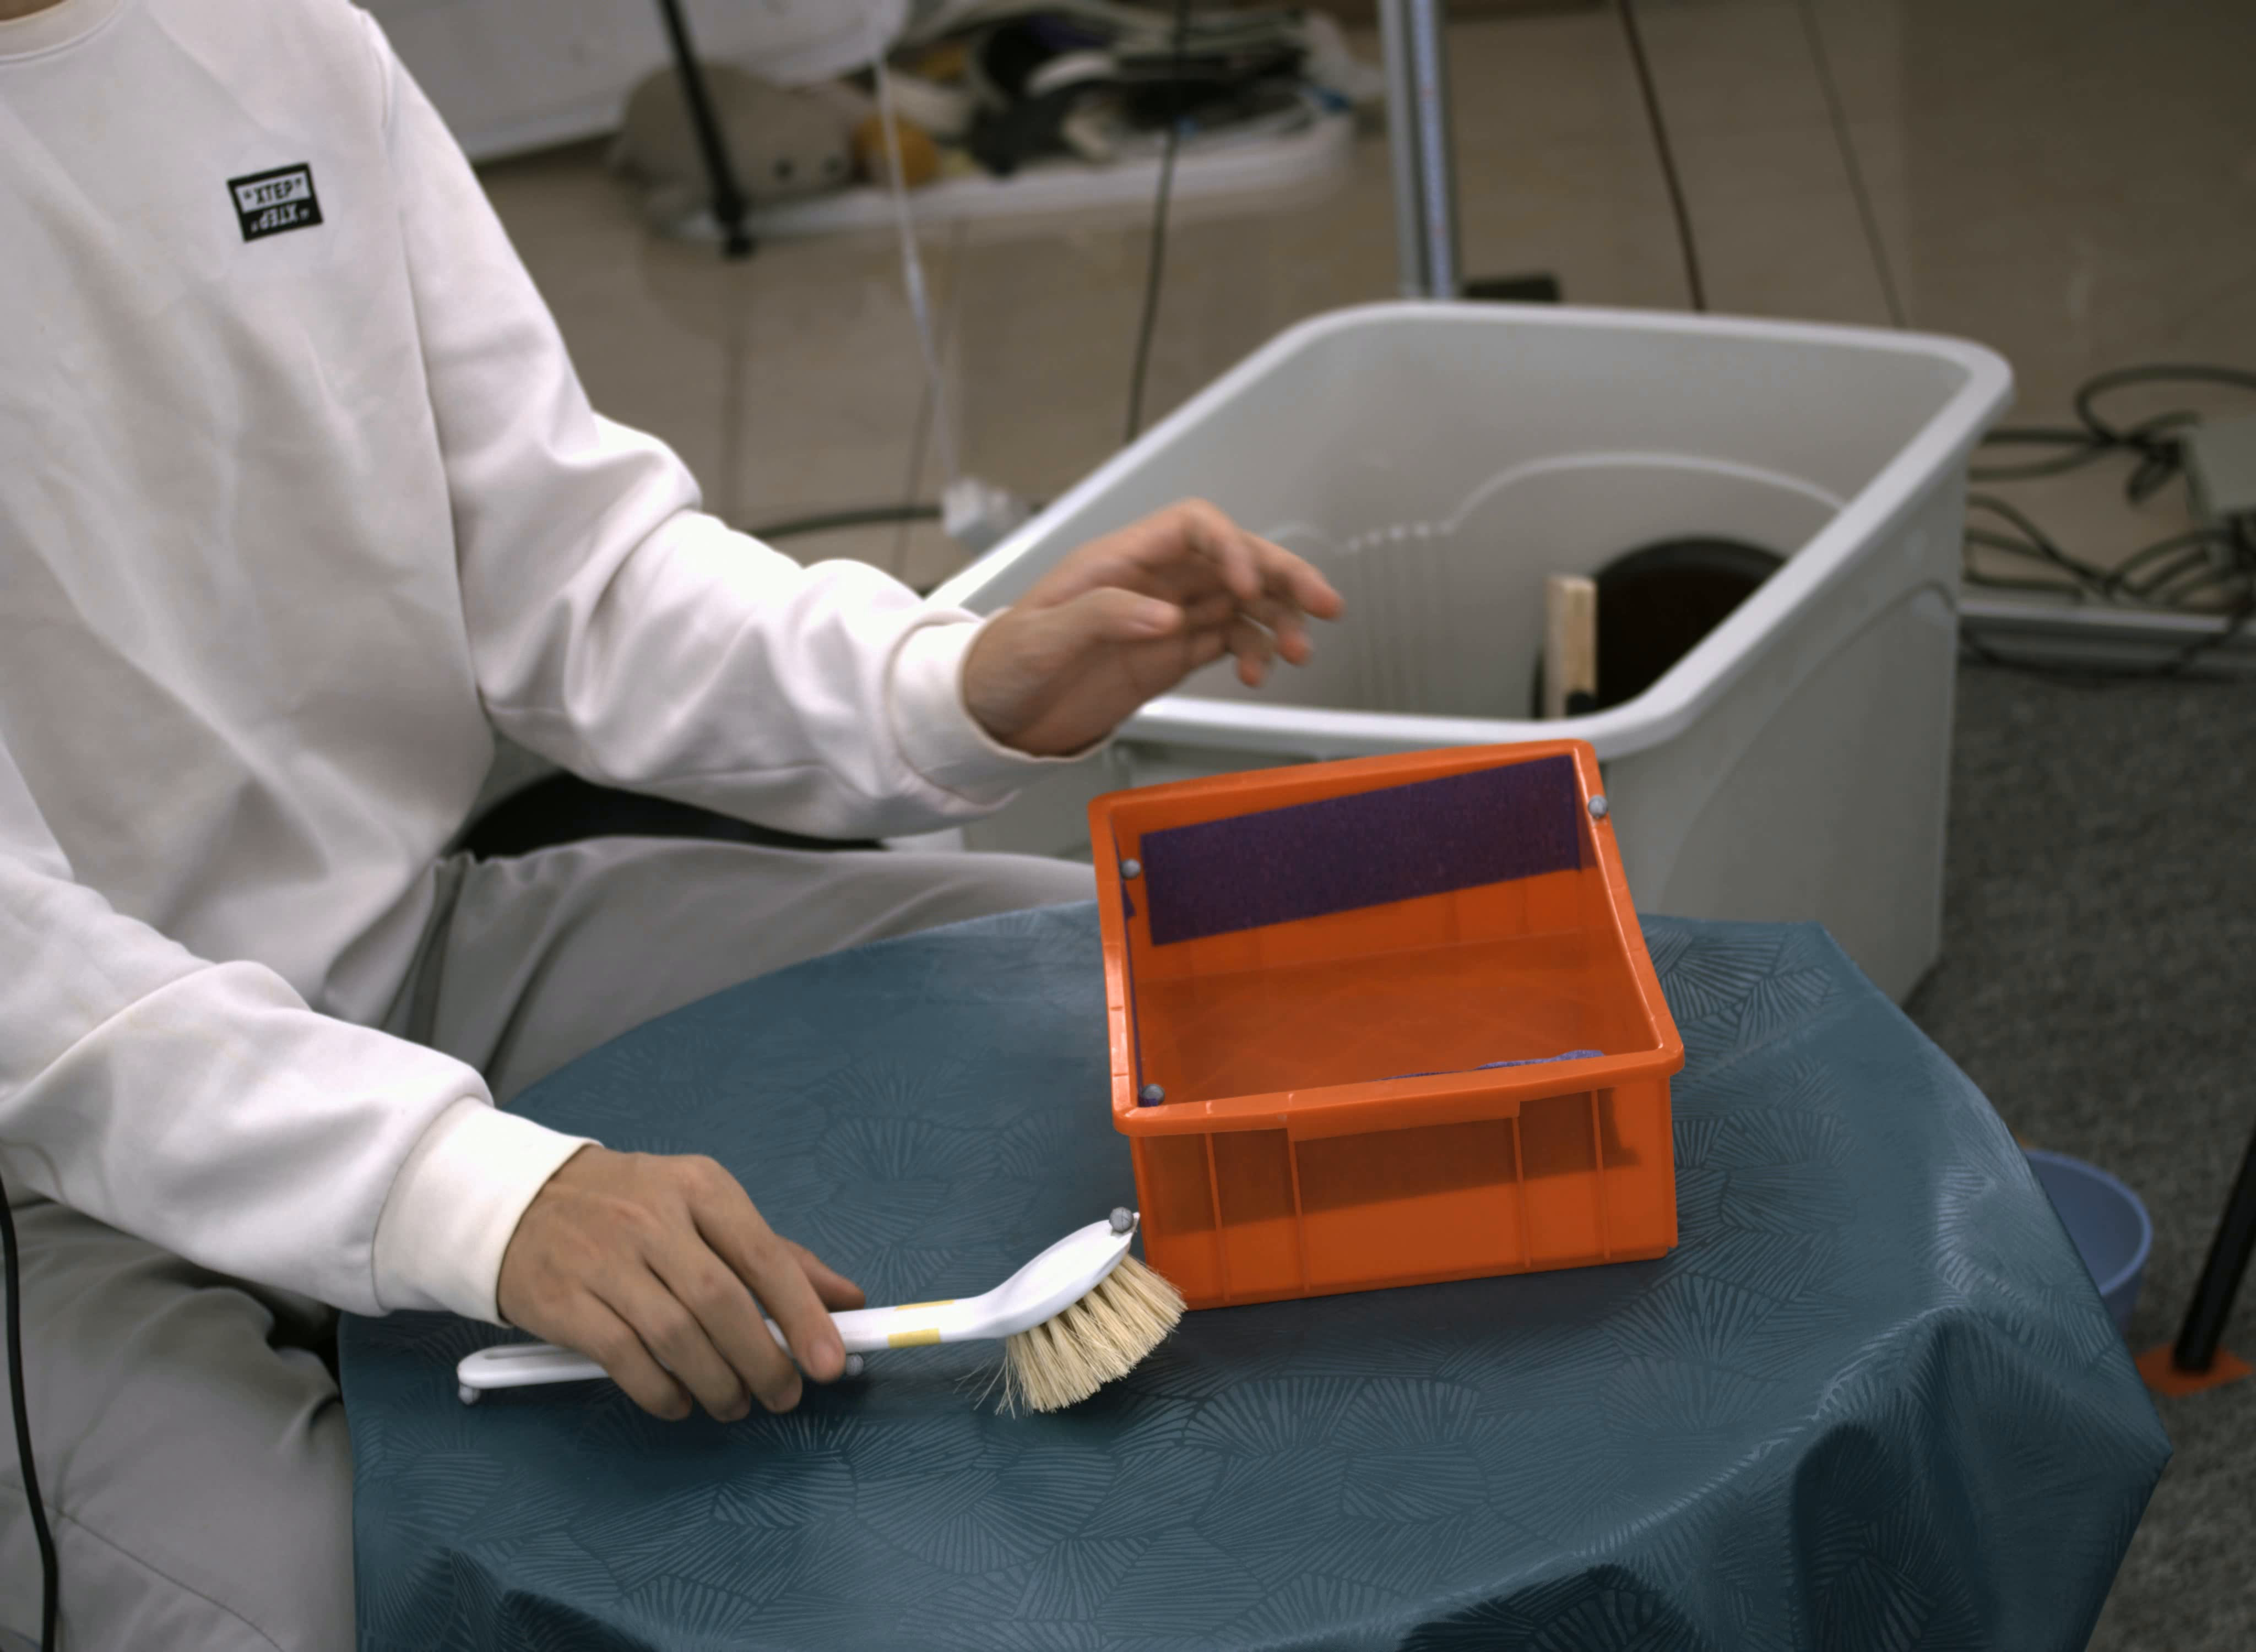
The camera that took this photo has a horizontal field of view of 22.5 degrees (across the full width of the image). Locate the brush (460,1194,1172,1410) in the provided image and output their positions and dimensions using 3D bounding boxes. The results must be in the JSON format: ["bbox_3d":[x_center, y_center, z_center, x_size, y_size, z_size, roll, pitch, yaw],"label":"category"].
[{"bbox_3d":[-0.110,0.193,2.037,0.266,0.056,0.068,-17,1,12],"label":"brush"}]

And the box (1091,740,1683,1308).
[{"bbox_3d":[0.096,0.075,2.158,0.206,0.098,0.299,-7,23,1],"label":"box"}]
